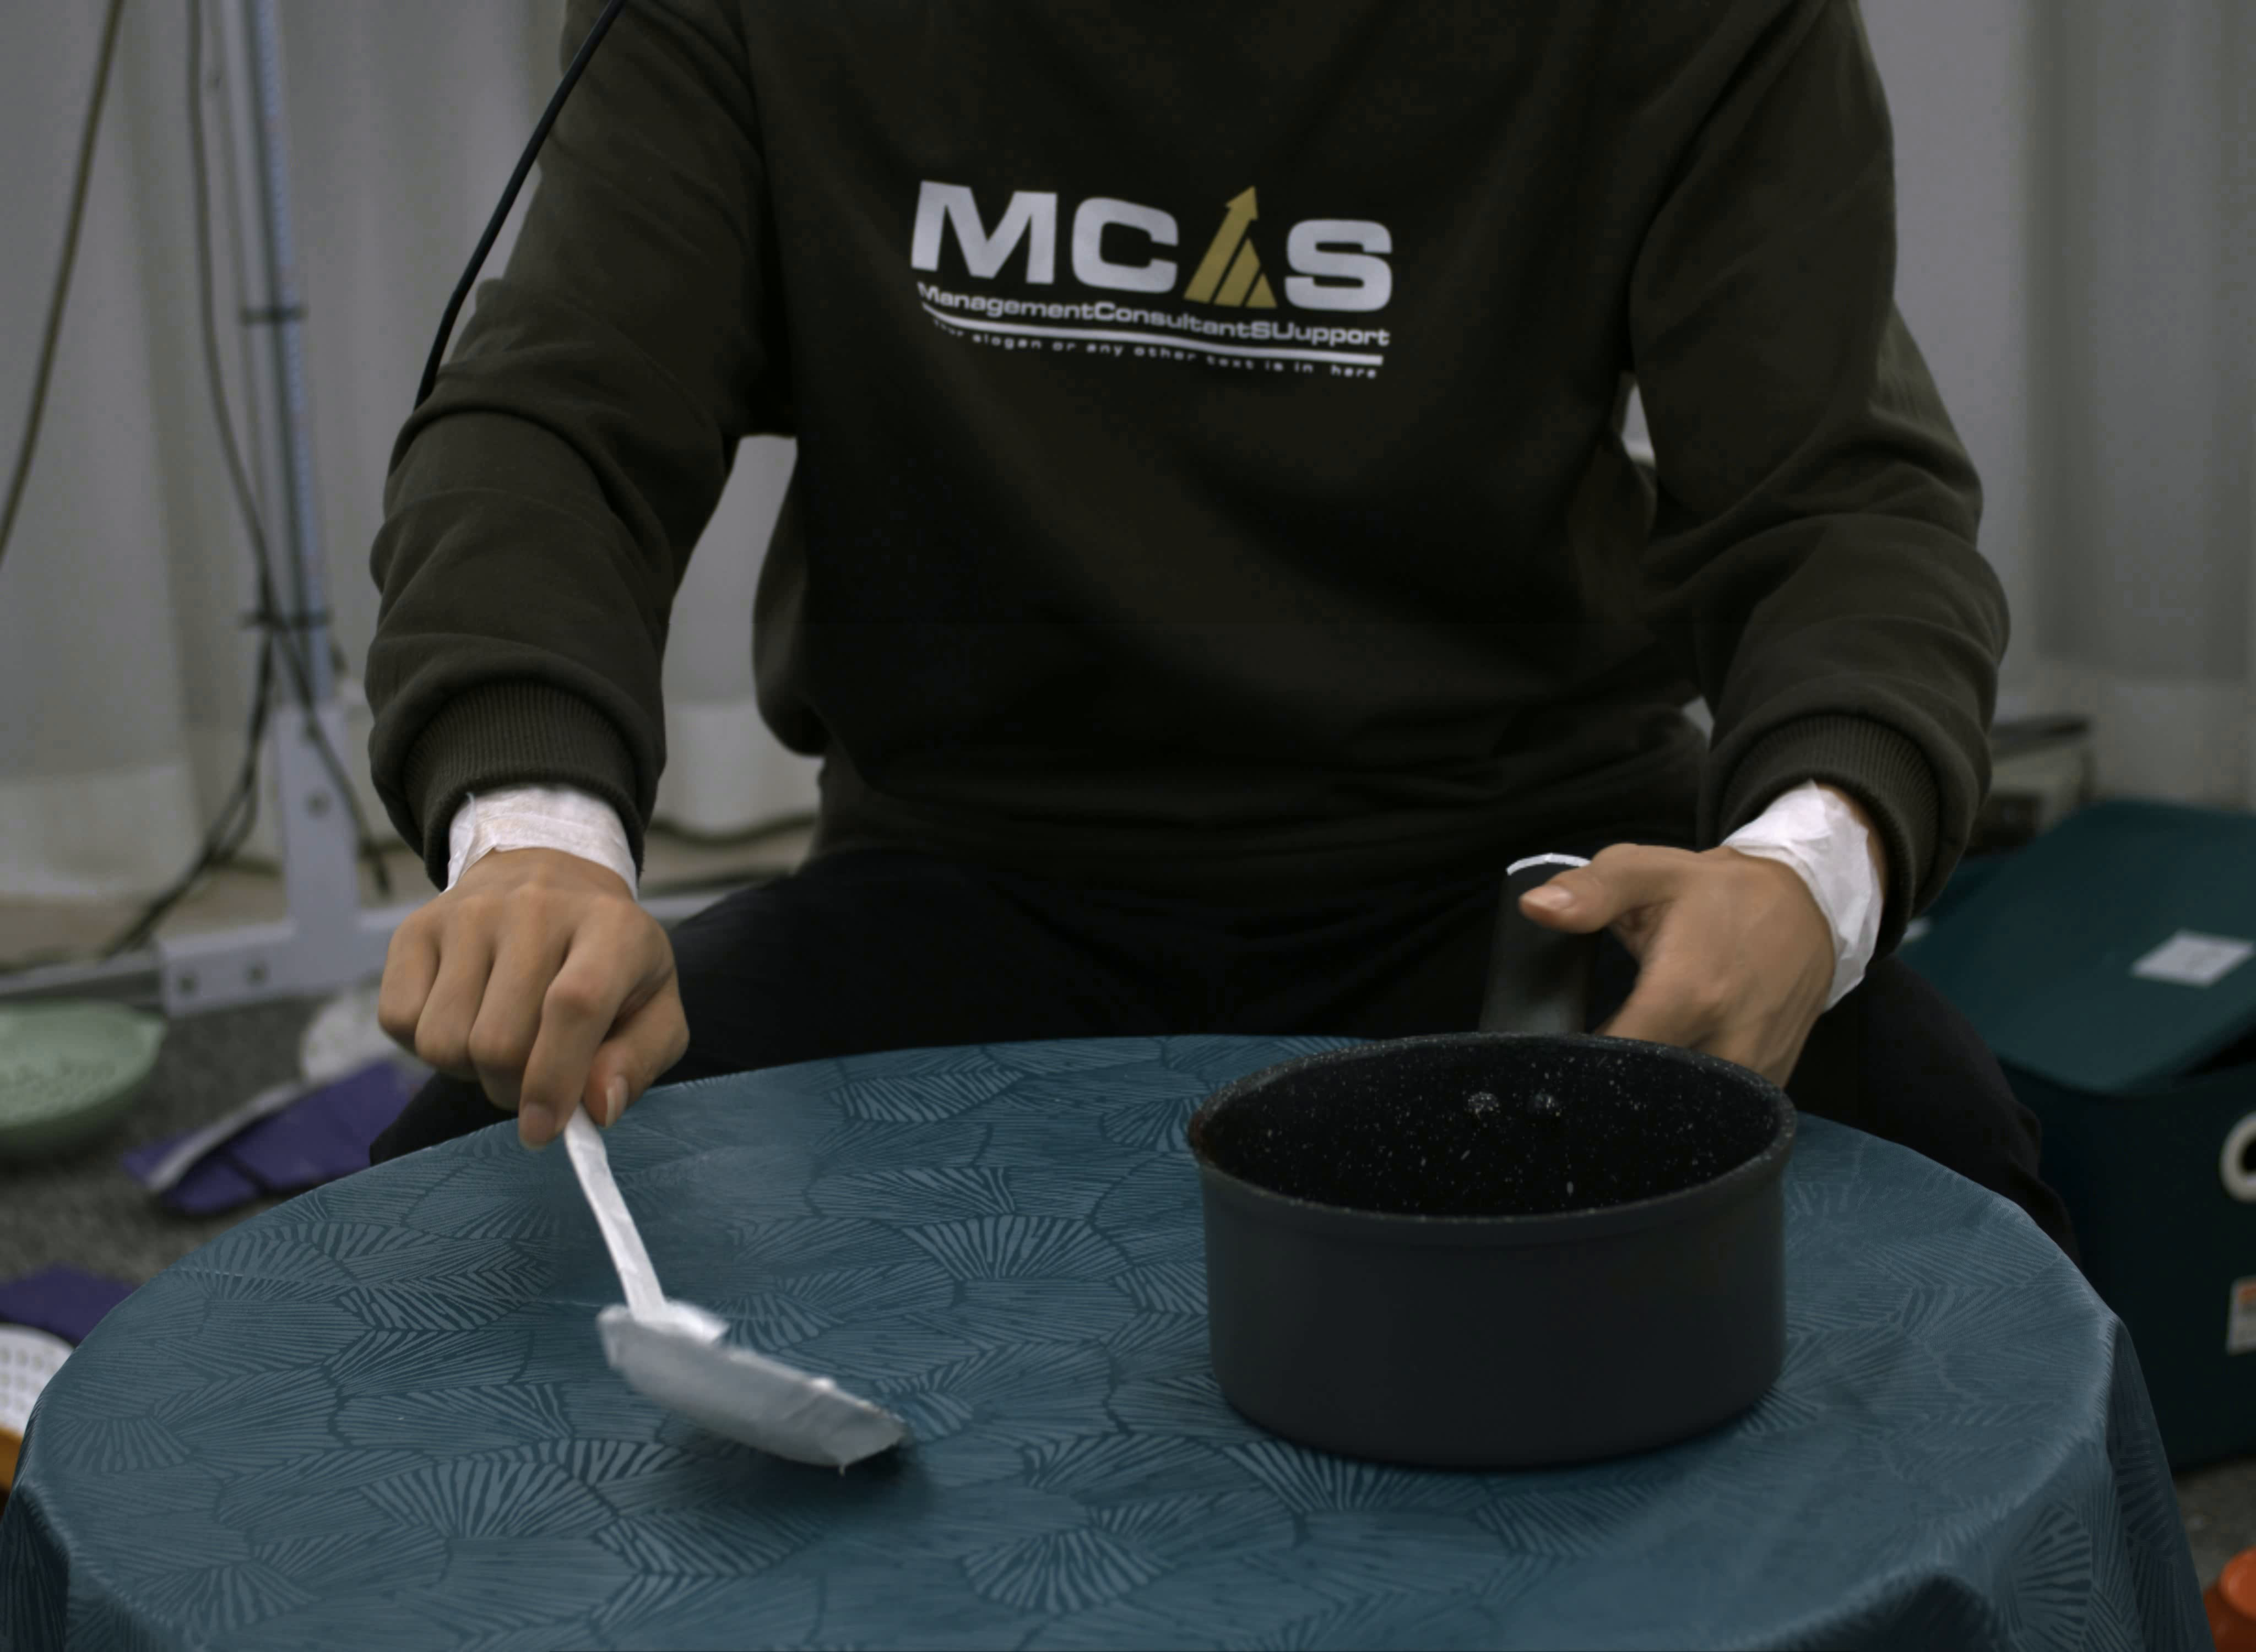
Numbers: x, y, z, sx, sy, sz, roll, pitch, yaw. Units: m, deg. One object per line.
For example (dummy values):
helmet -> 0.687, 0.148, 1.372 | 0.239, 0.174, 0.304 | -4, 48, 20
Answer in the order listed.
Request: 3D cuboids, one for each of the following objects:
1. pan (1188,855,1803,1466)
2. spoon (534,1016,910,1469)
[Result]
pan -> 0.119, 0.094, 1.610 | 0.172, 0.086, 0.330 | 1, 16, 12
spoon -> -0.123, 0.107, 1.577 | 0.059, 0.099, 0.281 | -43, 28, 7
